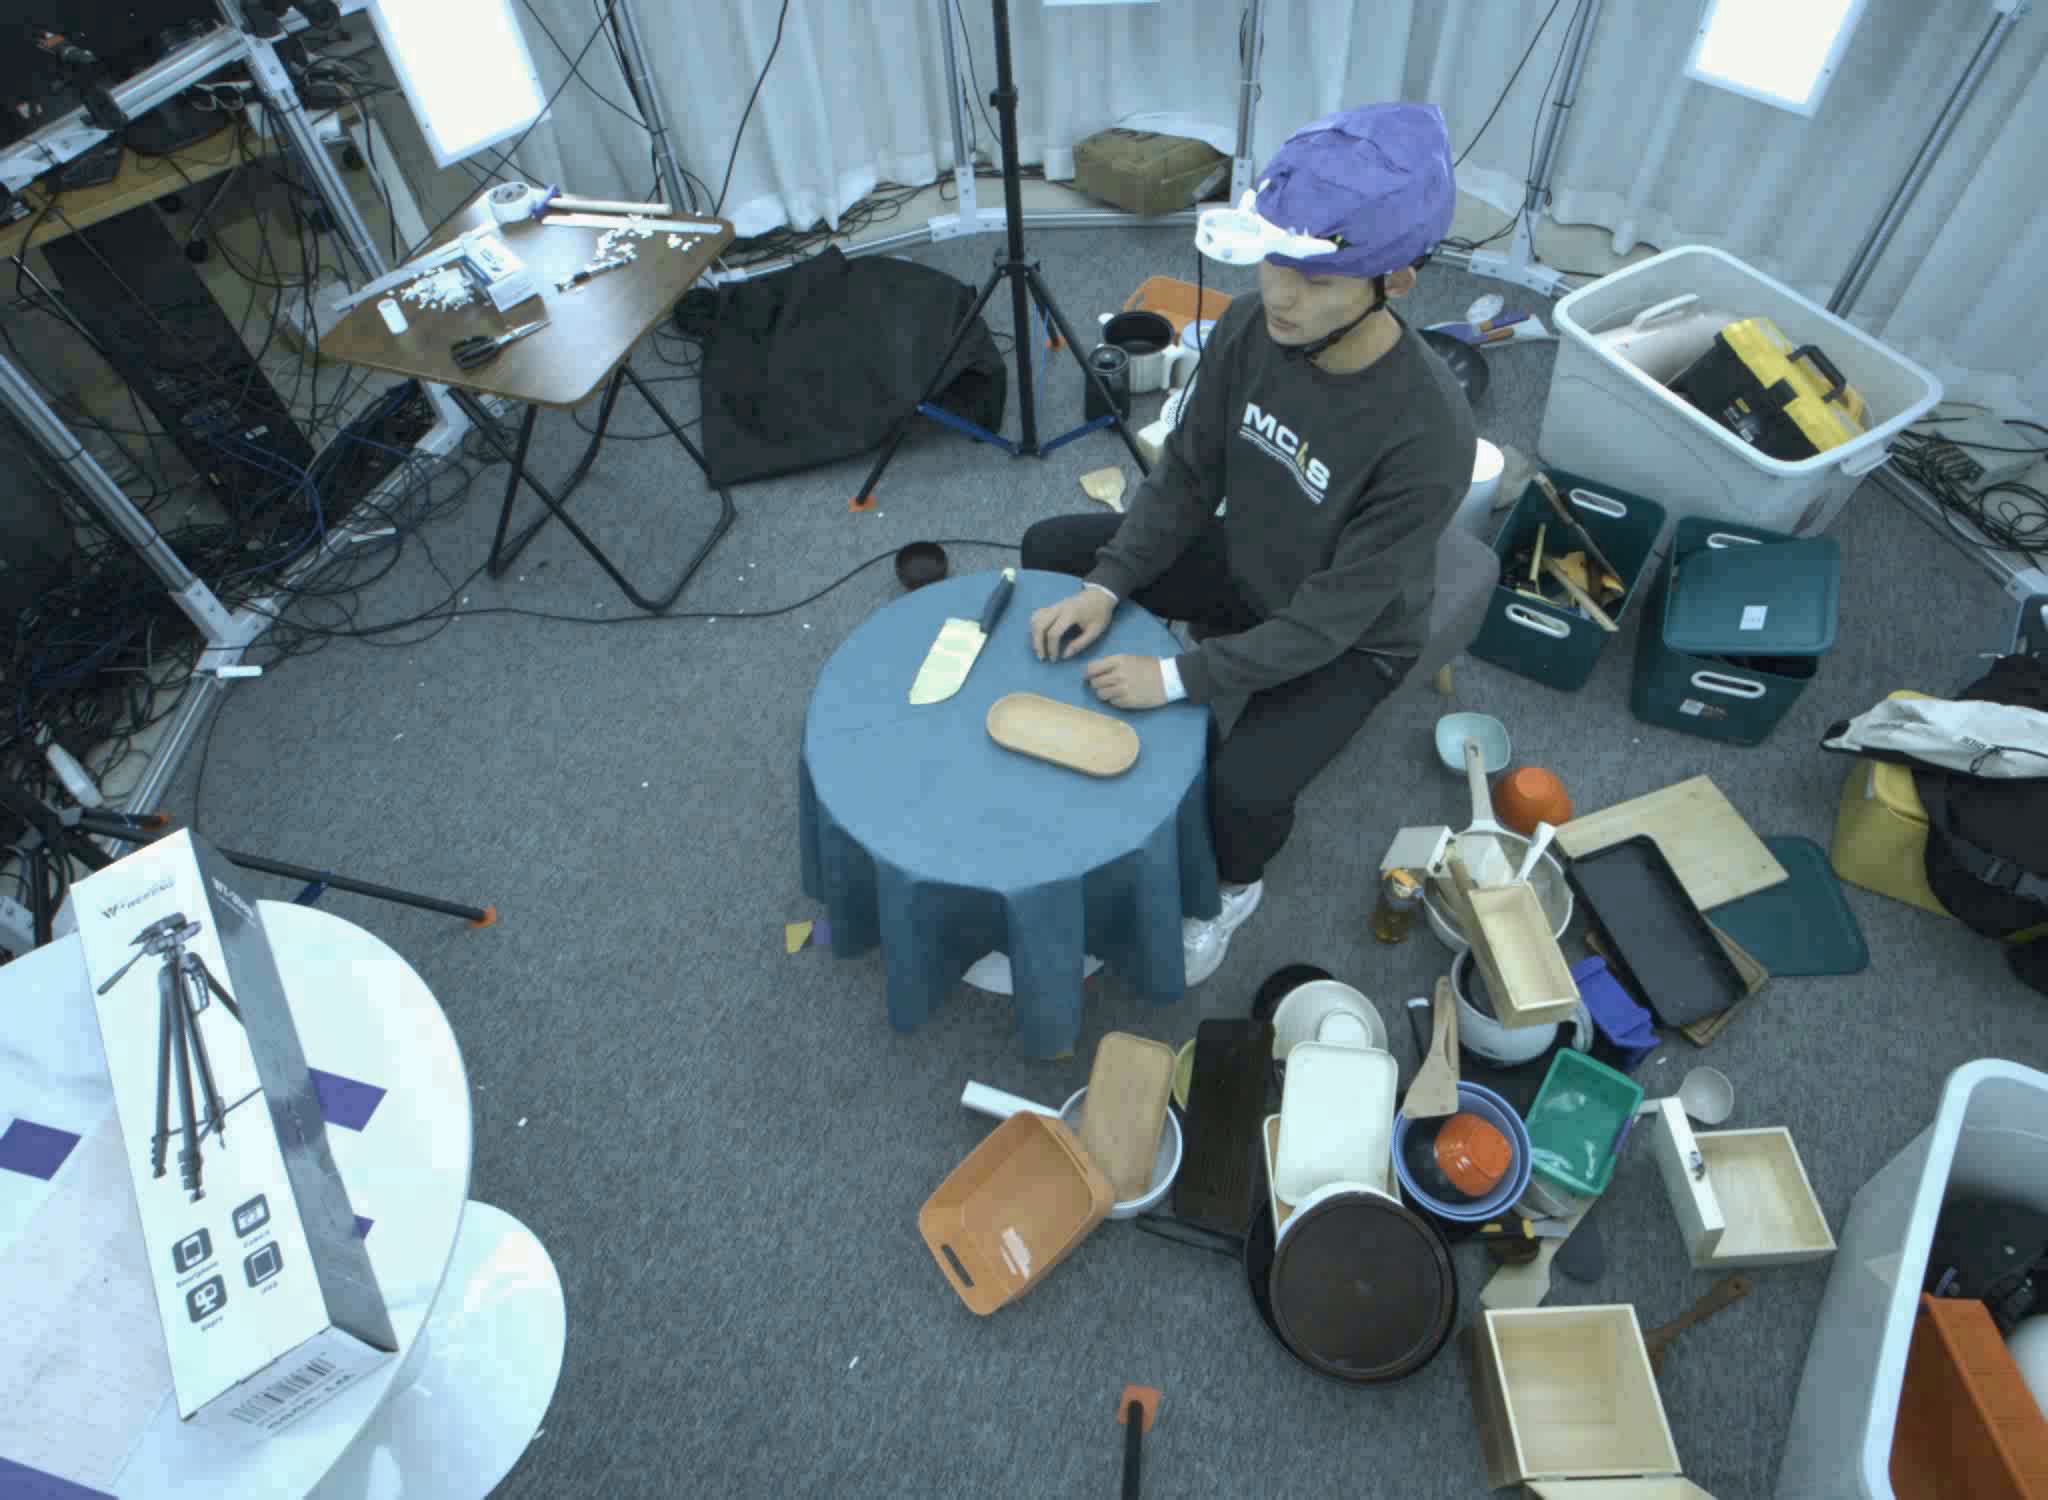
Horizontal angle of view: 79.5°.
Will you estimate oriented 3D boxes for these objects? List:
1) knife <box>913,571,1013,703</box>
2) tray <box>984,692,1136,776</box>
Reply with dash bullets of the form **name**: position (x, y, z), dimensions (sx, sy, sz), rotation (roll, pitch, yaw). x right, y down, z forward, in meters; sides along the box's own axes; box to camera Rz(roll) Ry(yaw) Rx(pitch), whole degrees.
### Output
- **knife**: position (-0.093, -0.180, 1.917), dimensions (0.080, 0.027, 0.289), rotation (21, 58, 14)
- **tray**: position (0.052, -0.023, 1.801), dimensions (0.228, 0.020, 0.101), rotation (16, 55, 14)
